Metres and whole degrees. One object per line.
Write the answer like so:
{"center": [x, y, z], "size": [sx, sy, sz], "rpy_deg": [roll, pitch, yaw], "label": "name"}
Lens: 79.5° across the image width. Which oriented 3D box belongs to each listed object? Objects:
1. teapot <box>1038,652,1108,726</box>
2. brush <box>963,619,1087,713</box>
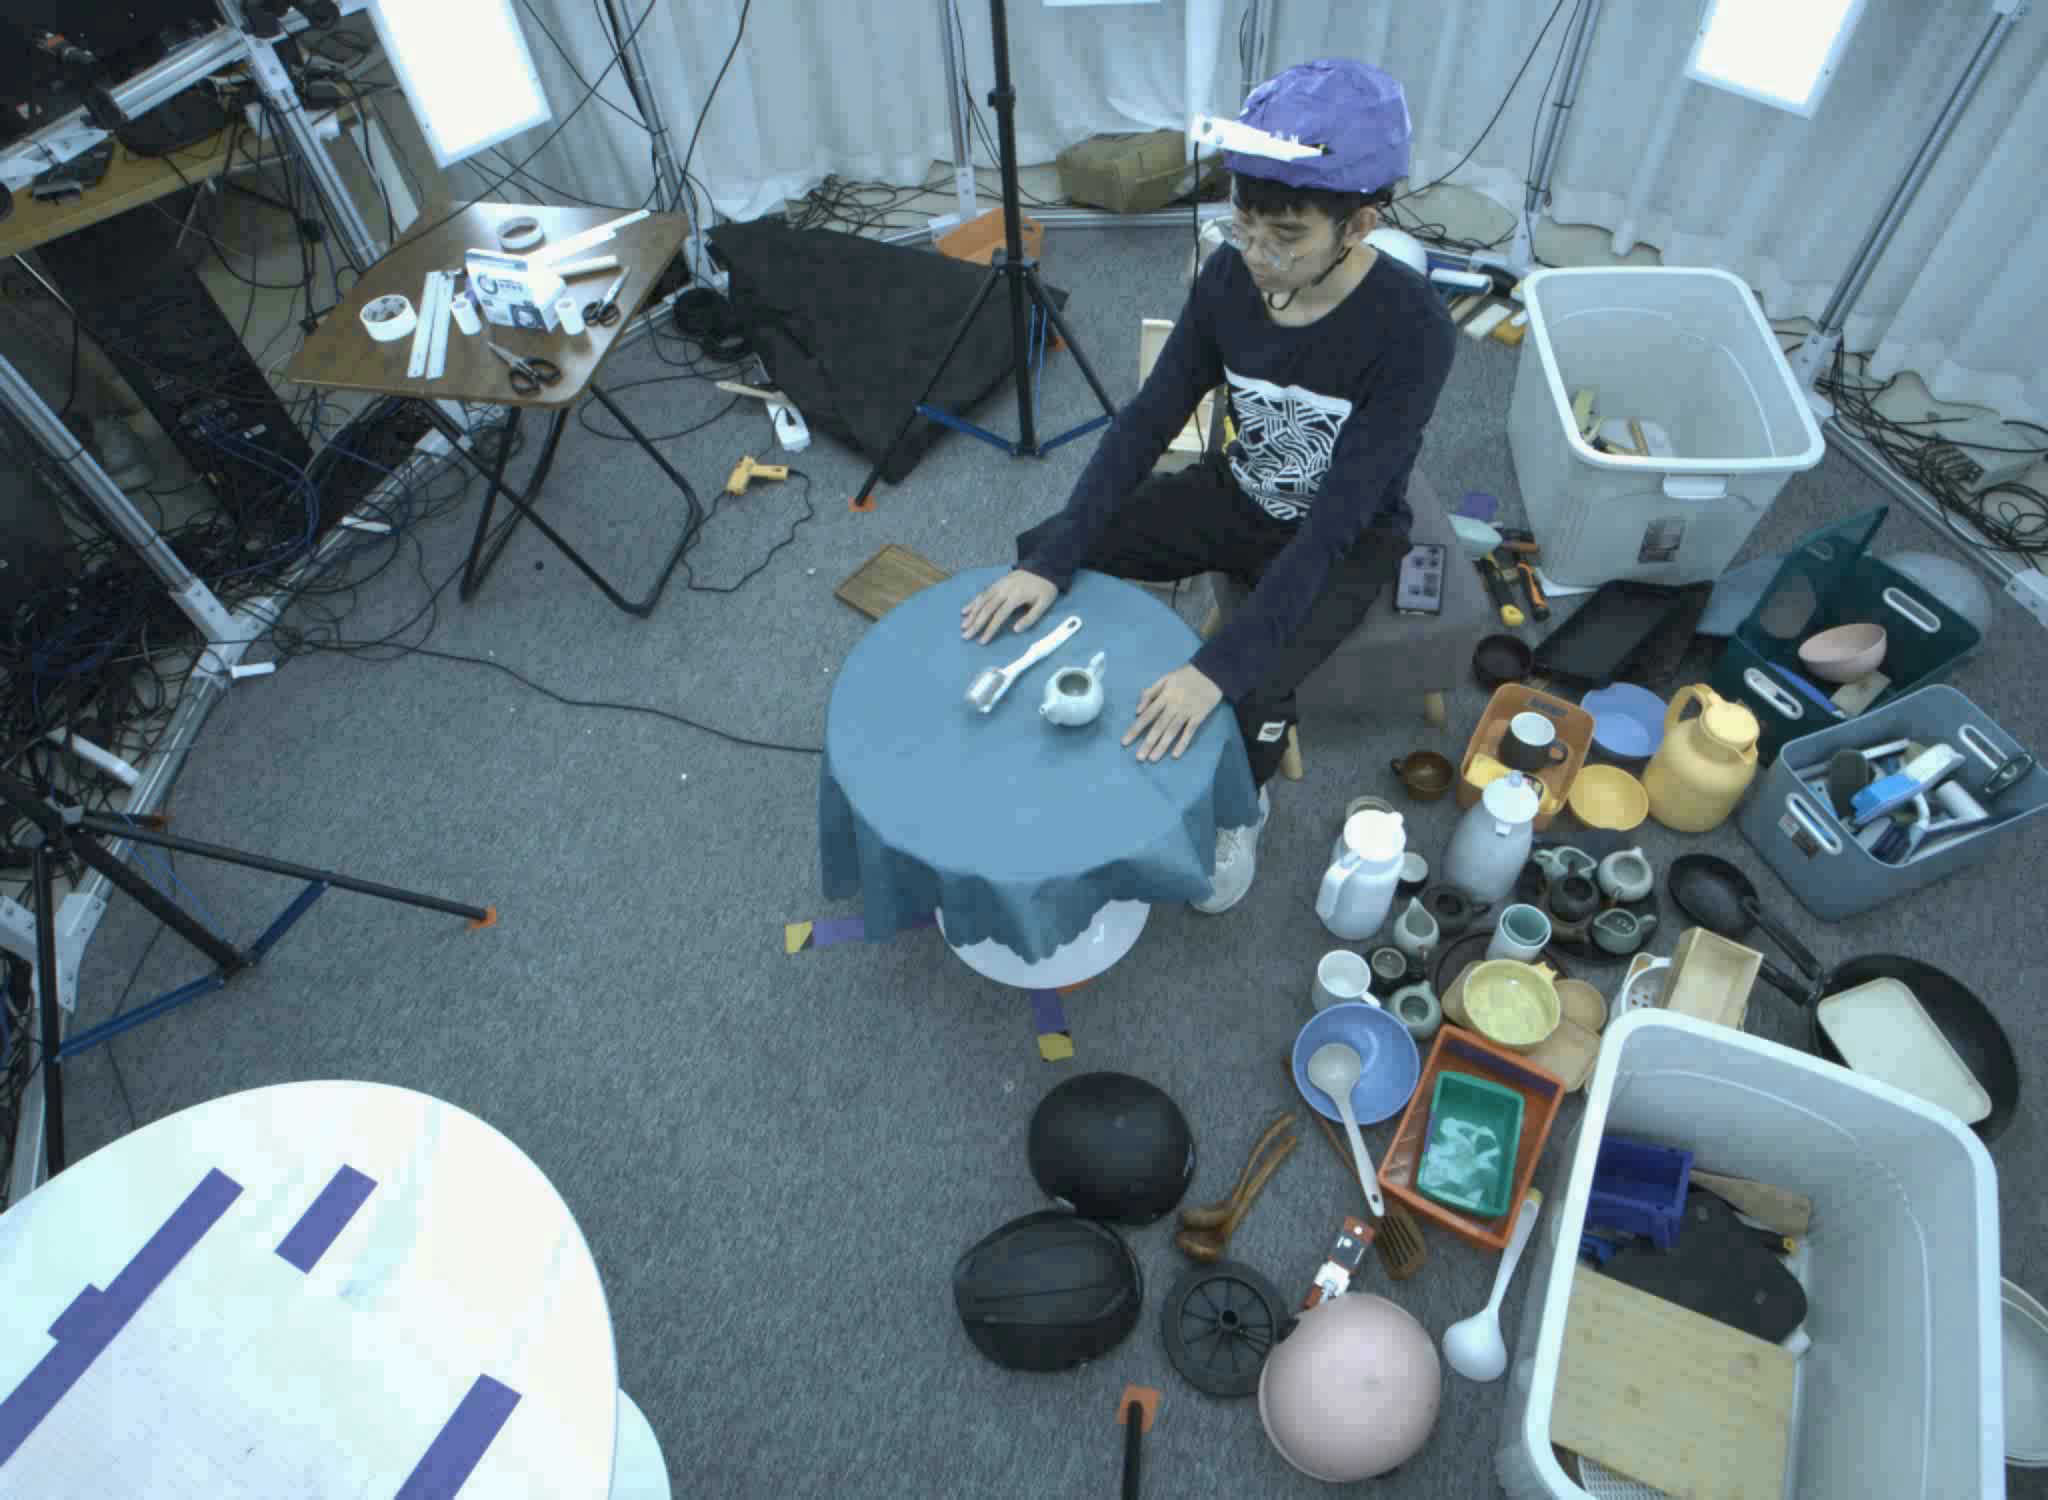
{"center": [0.073, -0.079, 1.789], "size": [0.087, 0.075, 0.145], "rpy_deg": [36, 65, 26], "label": "teapot"}
{"center": [0.005, -0.140, 1.850], "size": [0.245, 0.051, 0.034], "rpy_deg": [-40, 56, -23], "label": "brush"}
